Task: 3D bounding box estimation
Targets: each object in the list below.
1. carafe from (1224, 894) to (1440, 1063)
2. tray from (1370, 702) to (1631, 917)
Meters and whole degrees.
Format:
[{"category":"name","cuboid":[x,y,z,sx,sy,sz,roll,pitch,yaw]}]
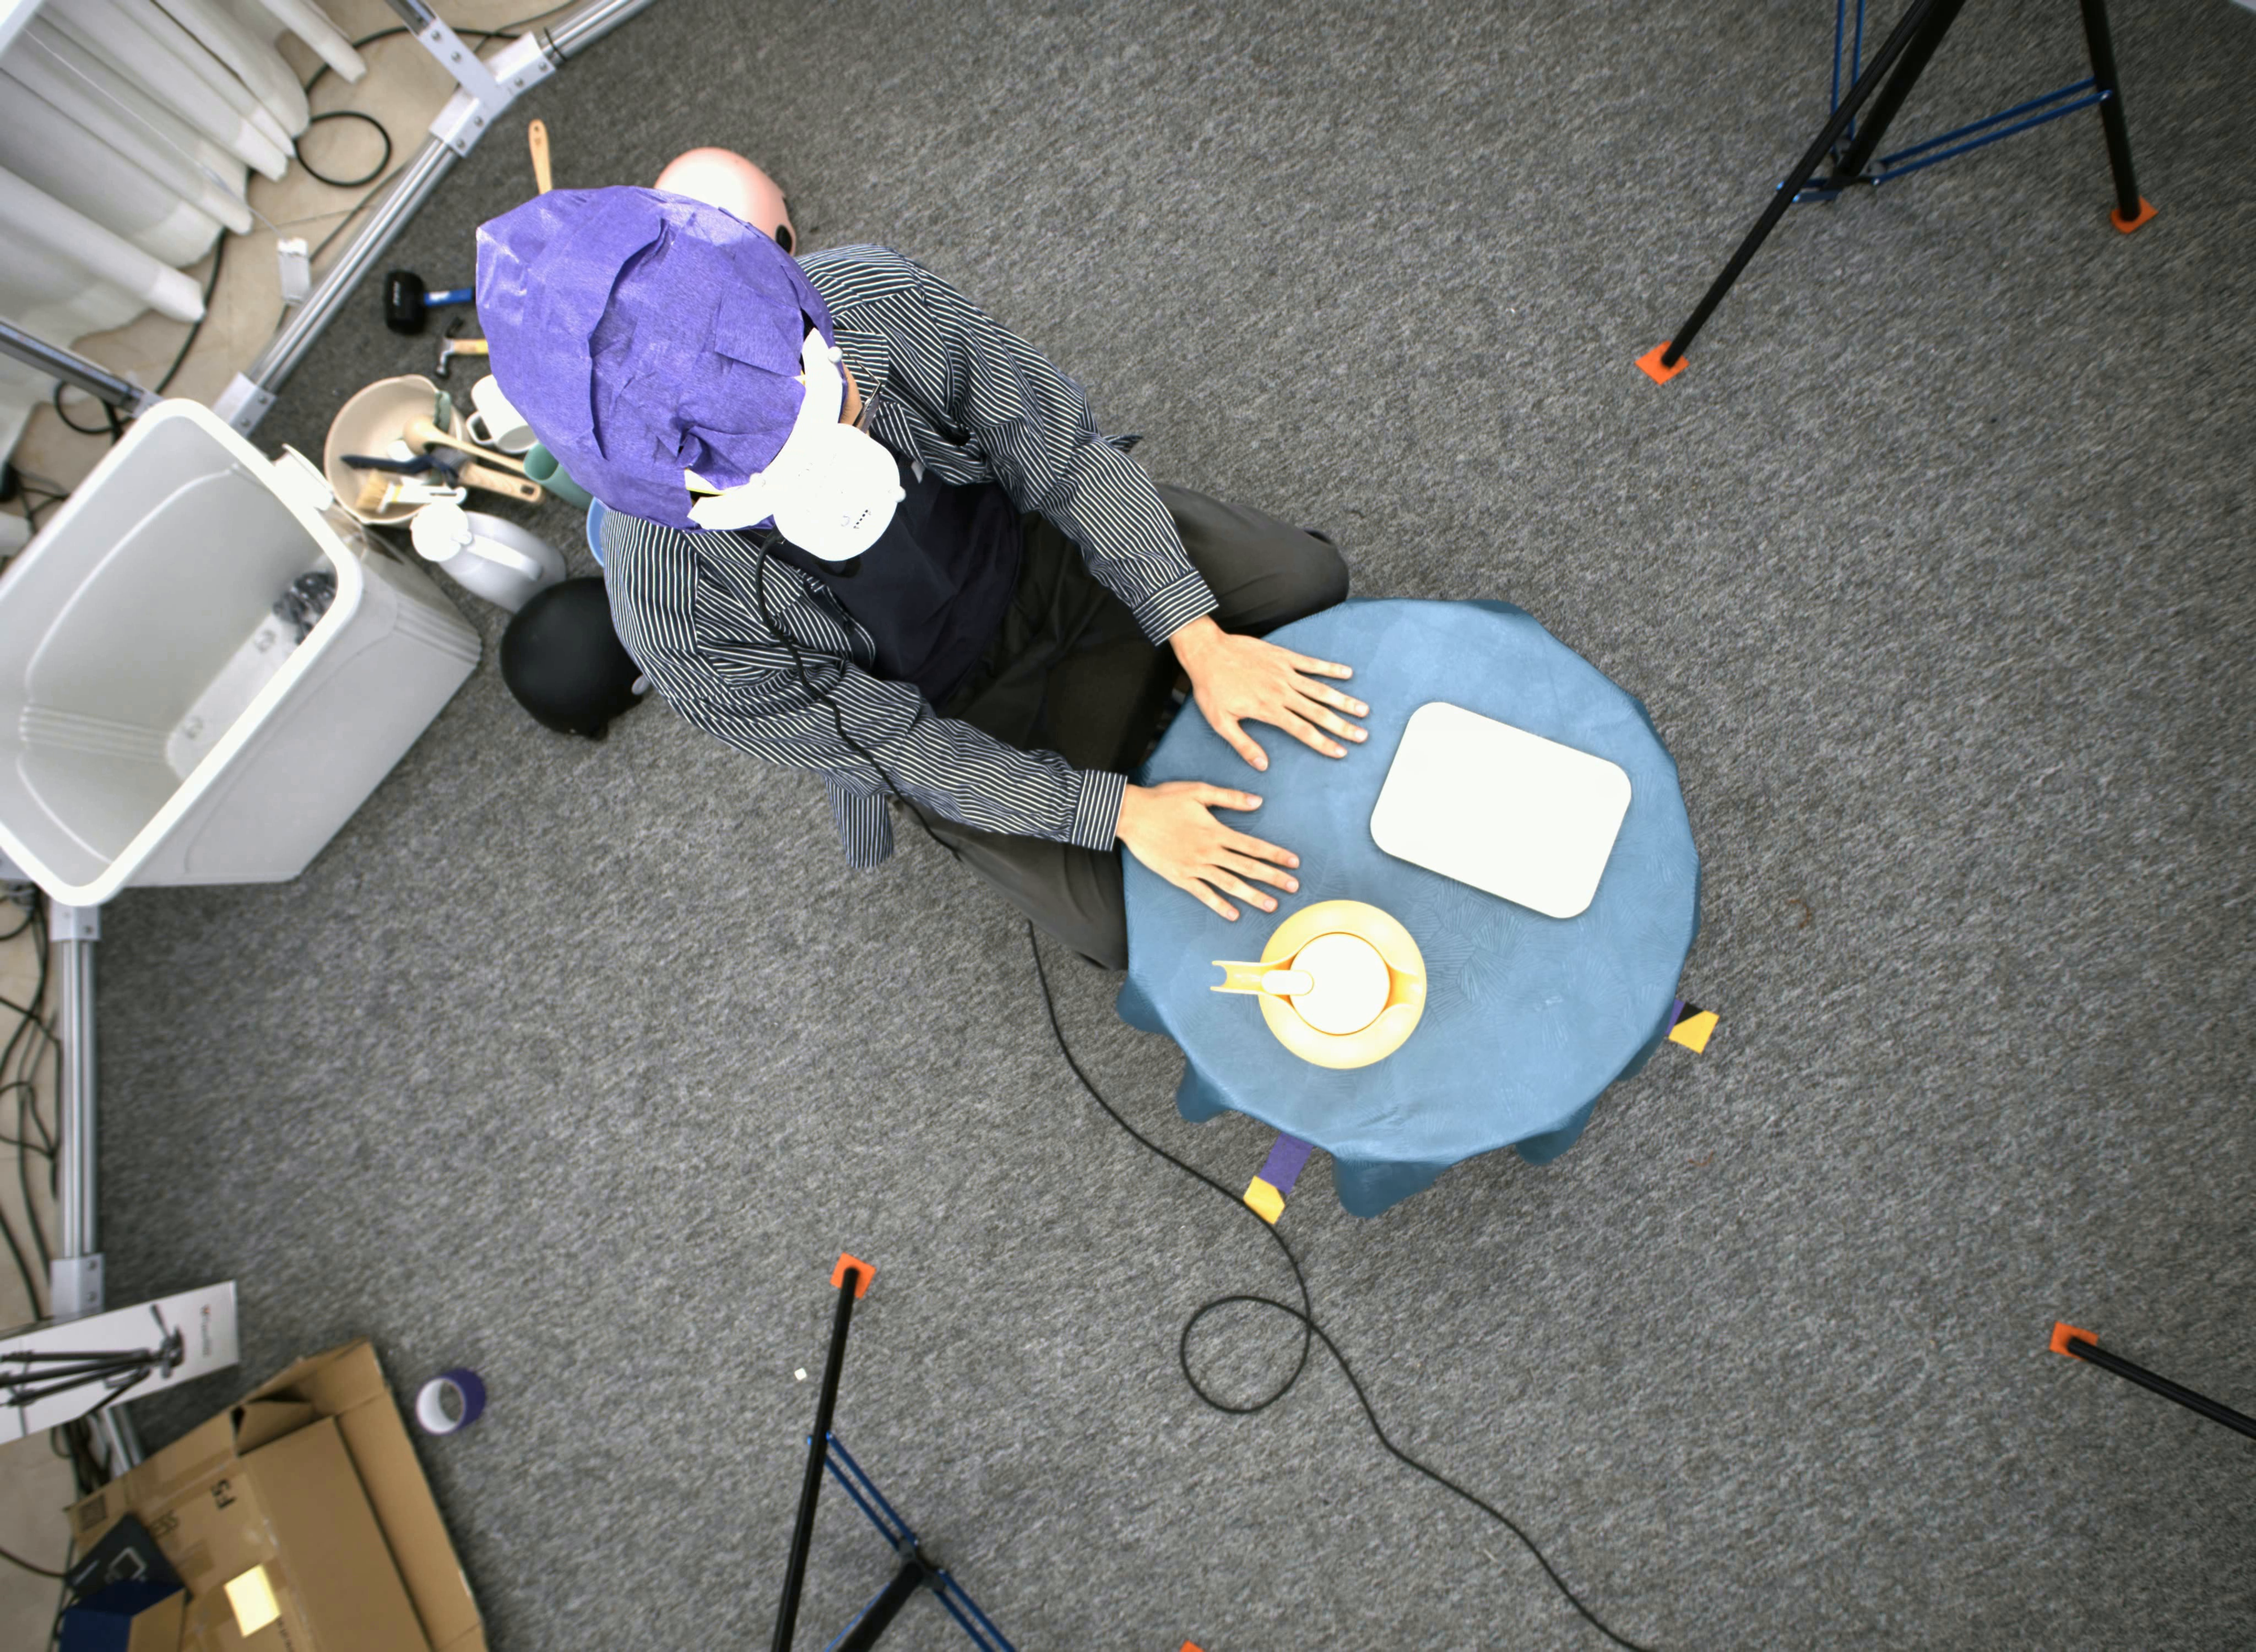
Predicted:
[{"category":"carafe","cuboid":[0.197,0.143,1.327,0.203,0.261,0.162,0,84,9]},{"category":"tray","cuboid":[0.384,-0.020,1.423,0.239,0.017,0.171,21,91,11]}]
